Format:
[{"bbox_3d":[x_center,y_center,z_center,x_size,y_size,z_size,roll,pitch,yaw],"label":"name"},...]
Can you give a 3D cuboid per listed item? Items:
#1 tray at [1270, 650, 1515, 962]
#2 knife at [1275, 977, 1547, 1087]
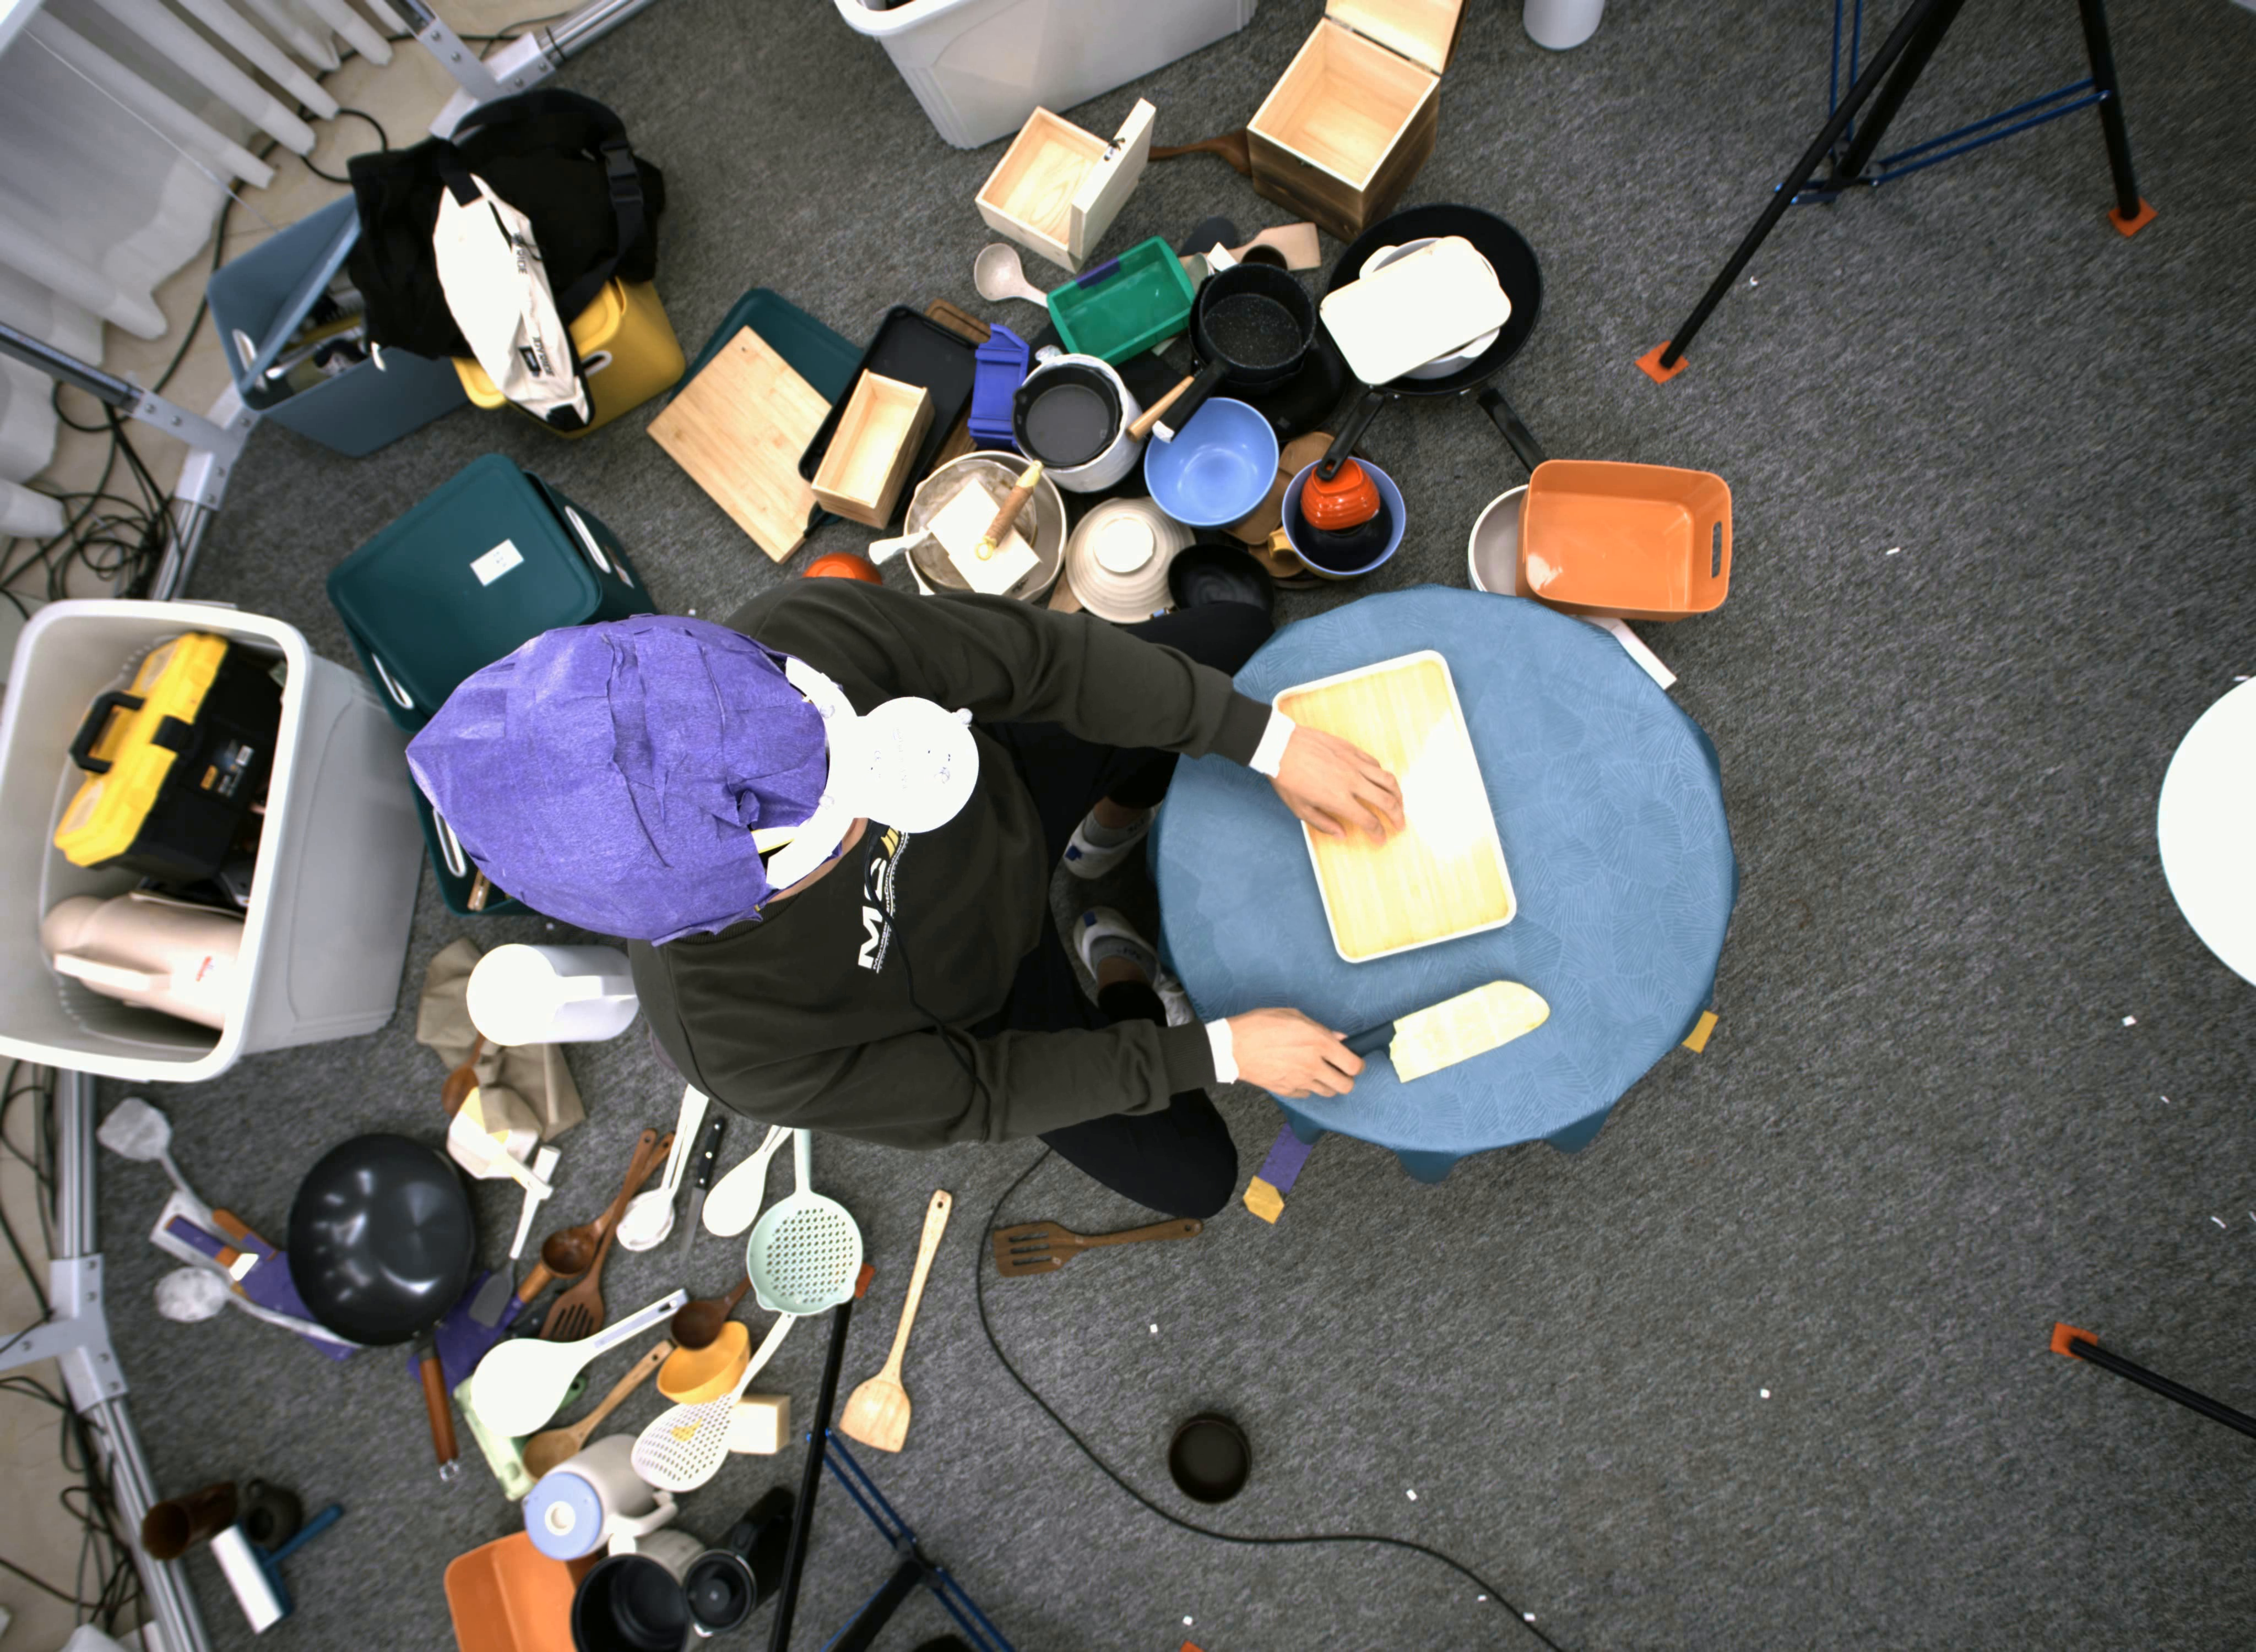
[{"bbox_3d":[0.276,-0.022,1.451,0.193,0.027,0.298,-15,84,11],"label":"tray"},{"bbox_3d":[0.294,0.222,1.428,0.291,0.027,0.082,-19,107,8],"label":"knife"}]
